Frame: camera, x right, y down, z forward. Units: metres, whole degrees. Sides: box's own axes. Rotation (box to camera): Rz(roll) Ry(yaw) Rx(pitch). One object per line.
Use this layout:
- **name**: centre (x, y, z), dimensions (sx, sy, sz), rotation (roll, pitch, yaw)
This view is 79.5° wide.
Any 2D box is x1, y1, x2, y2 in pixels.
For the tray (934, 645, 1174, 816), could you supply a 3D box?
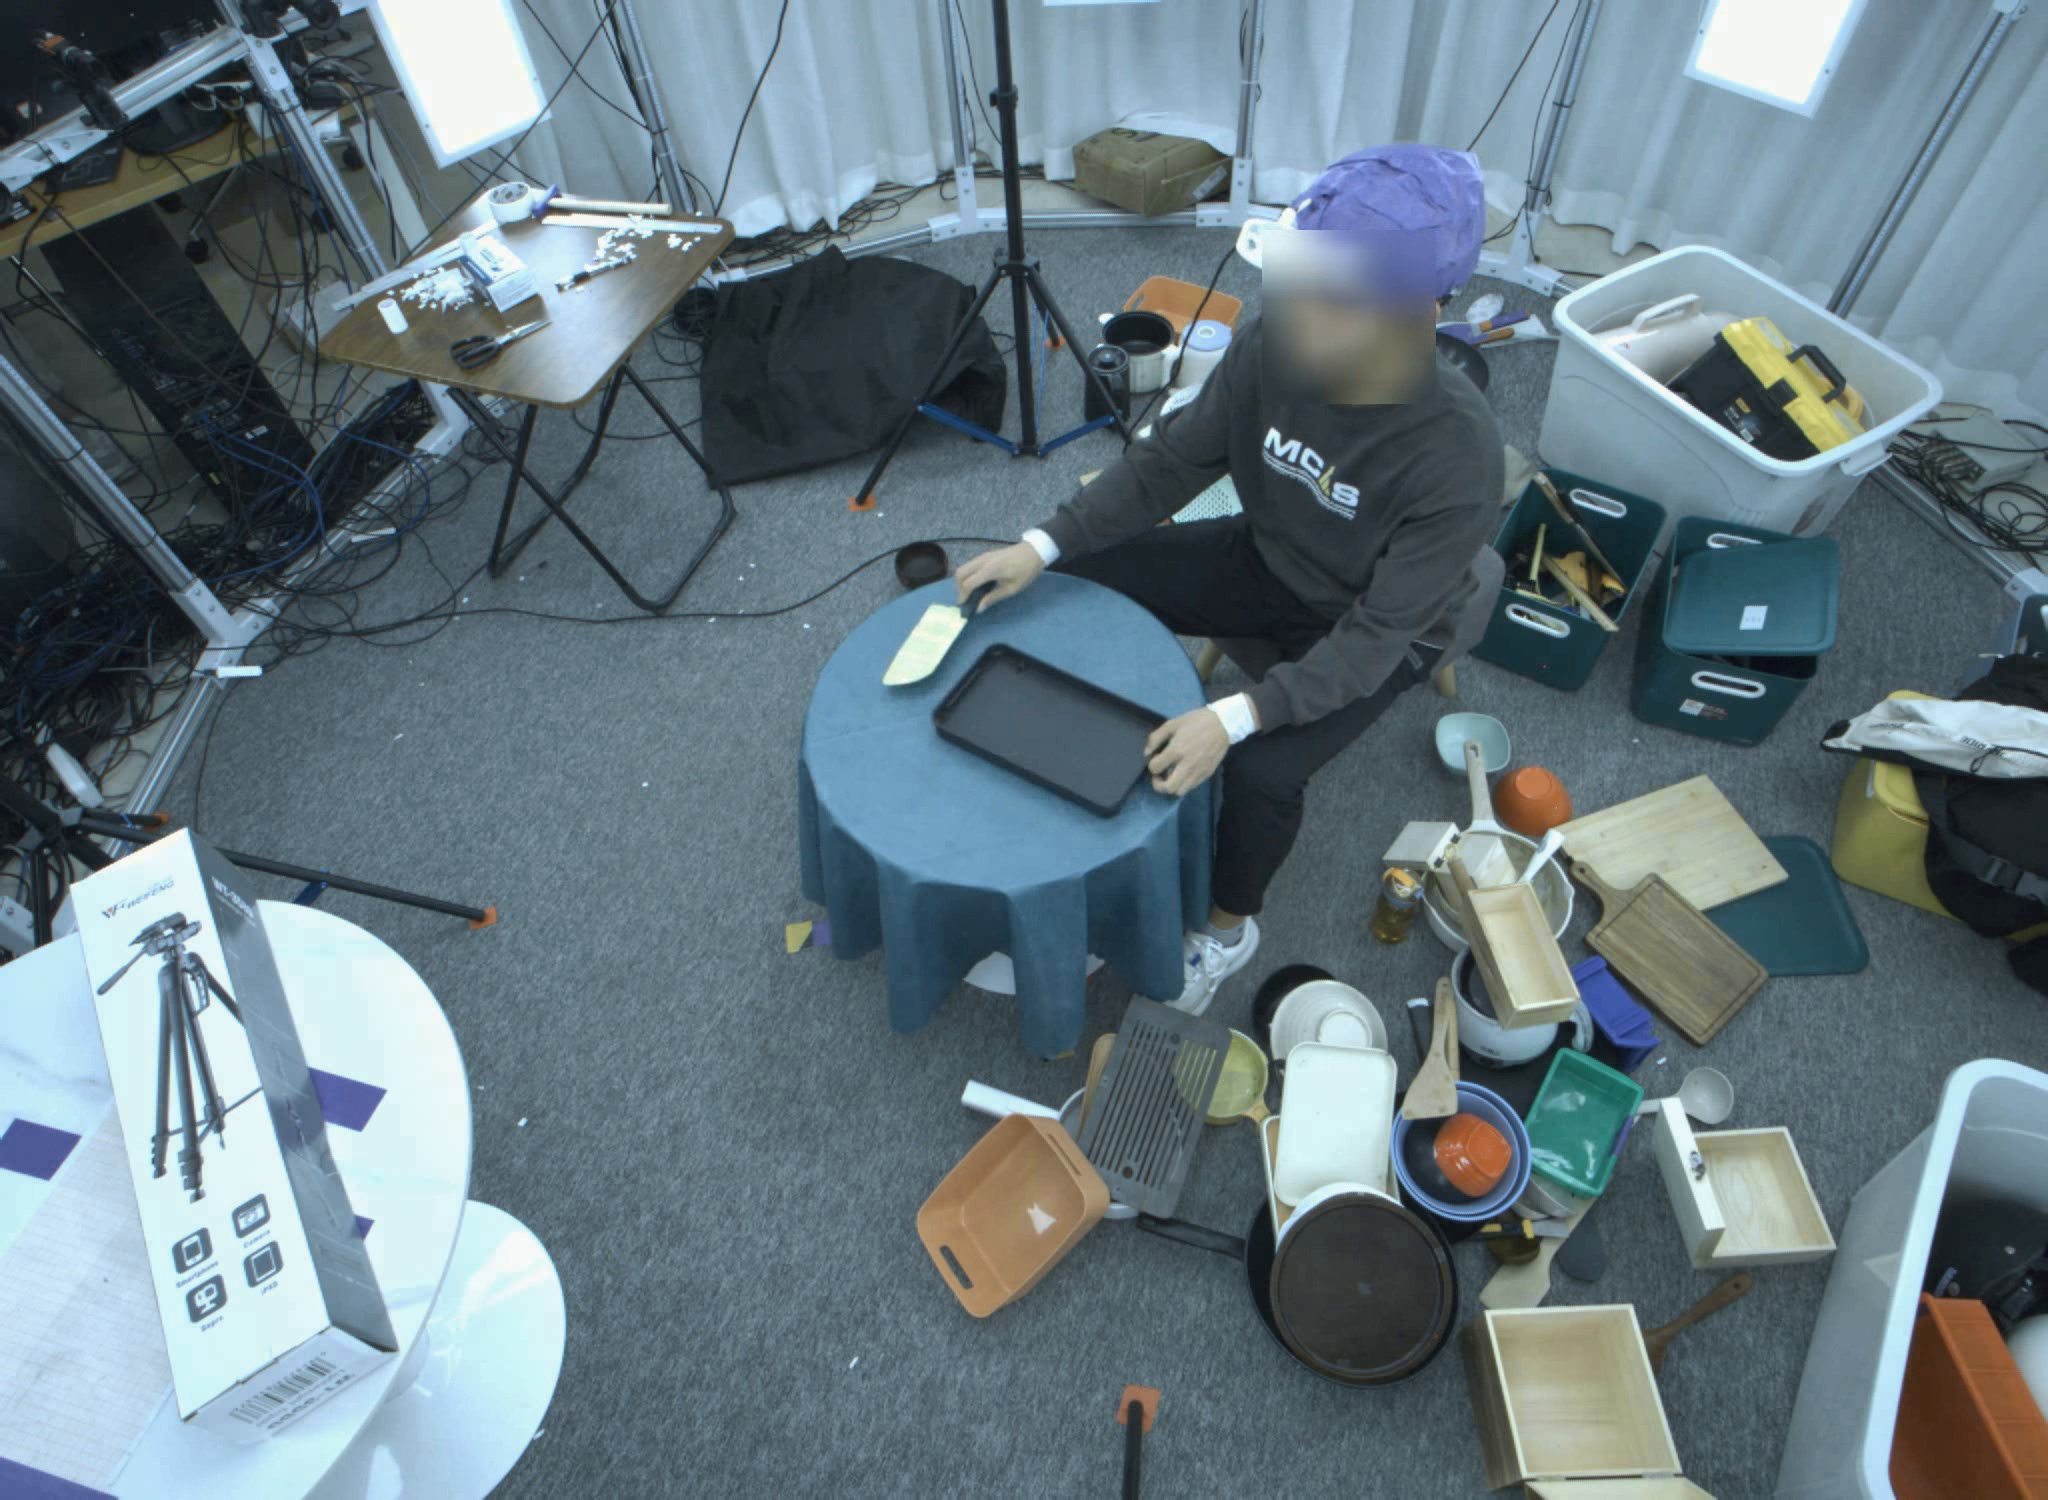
- **tray**: centre (0.043, -0.033, 1.793), dimensions (0.313, 0.037, 0.185), rotation (24, 57, 19)

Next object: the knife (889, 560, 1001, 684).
- **knife**: centre (-0.122, -0.202, 1.909), dimensions (0.080, 0.027, 0.290), rotation (21, 57, 22)
